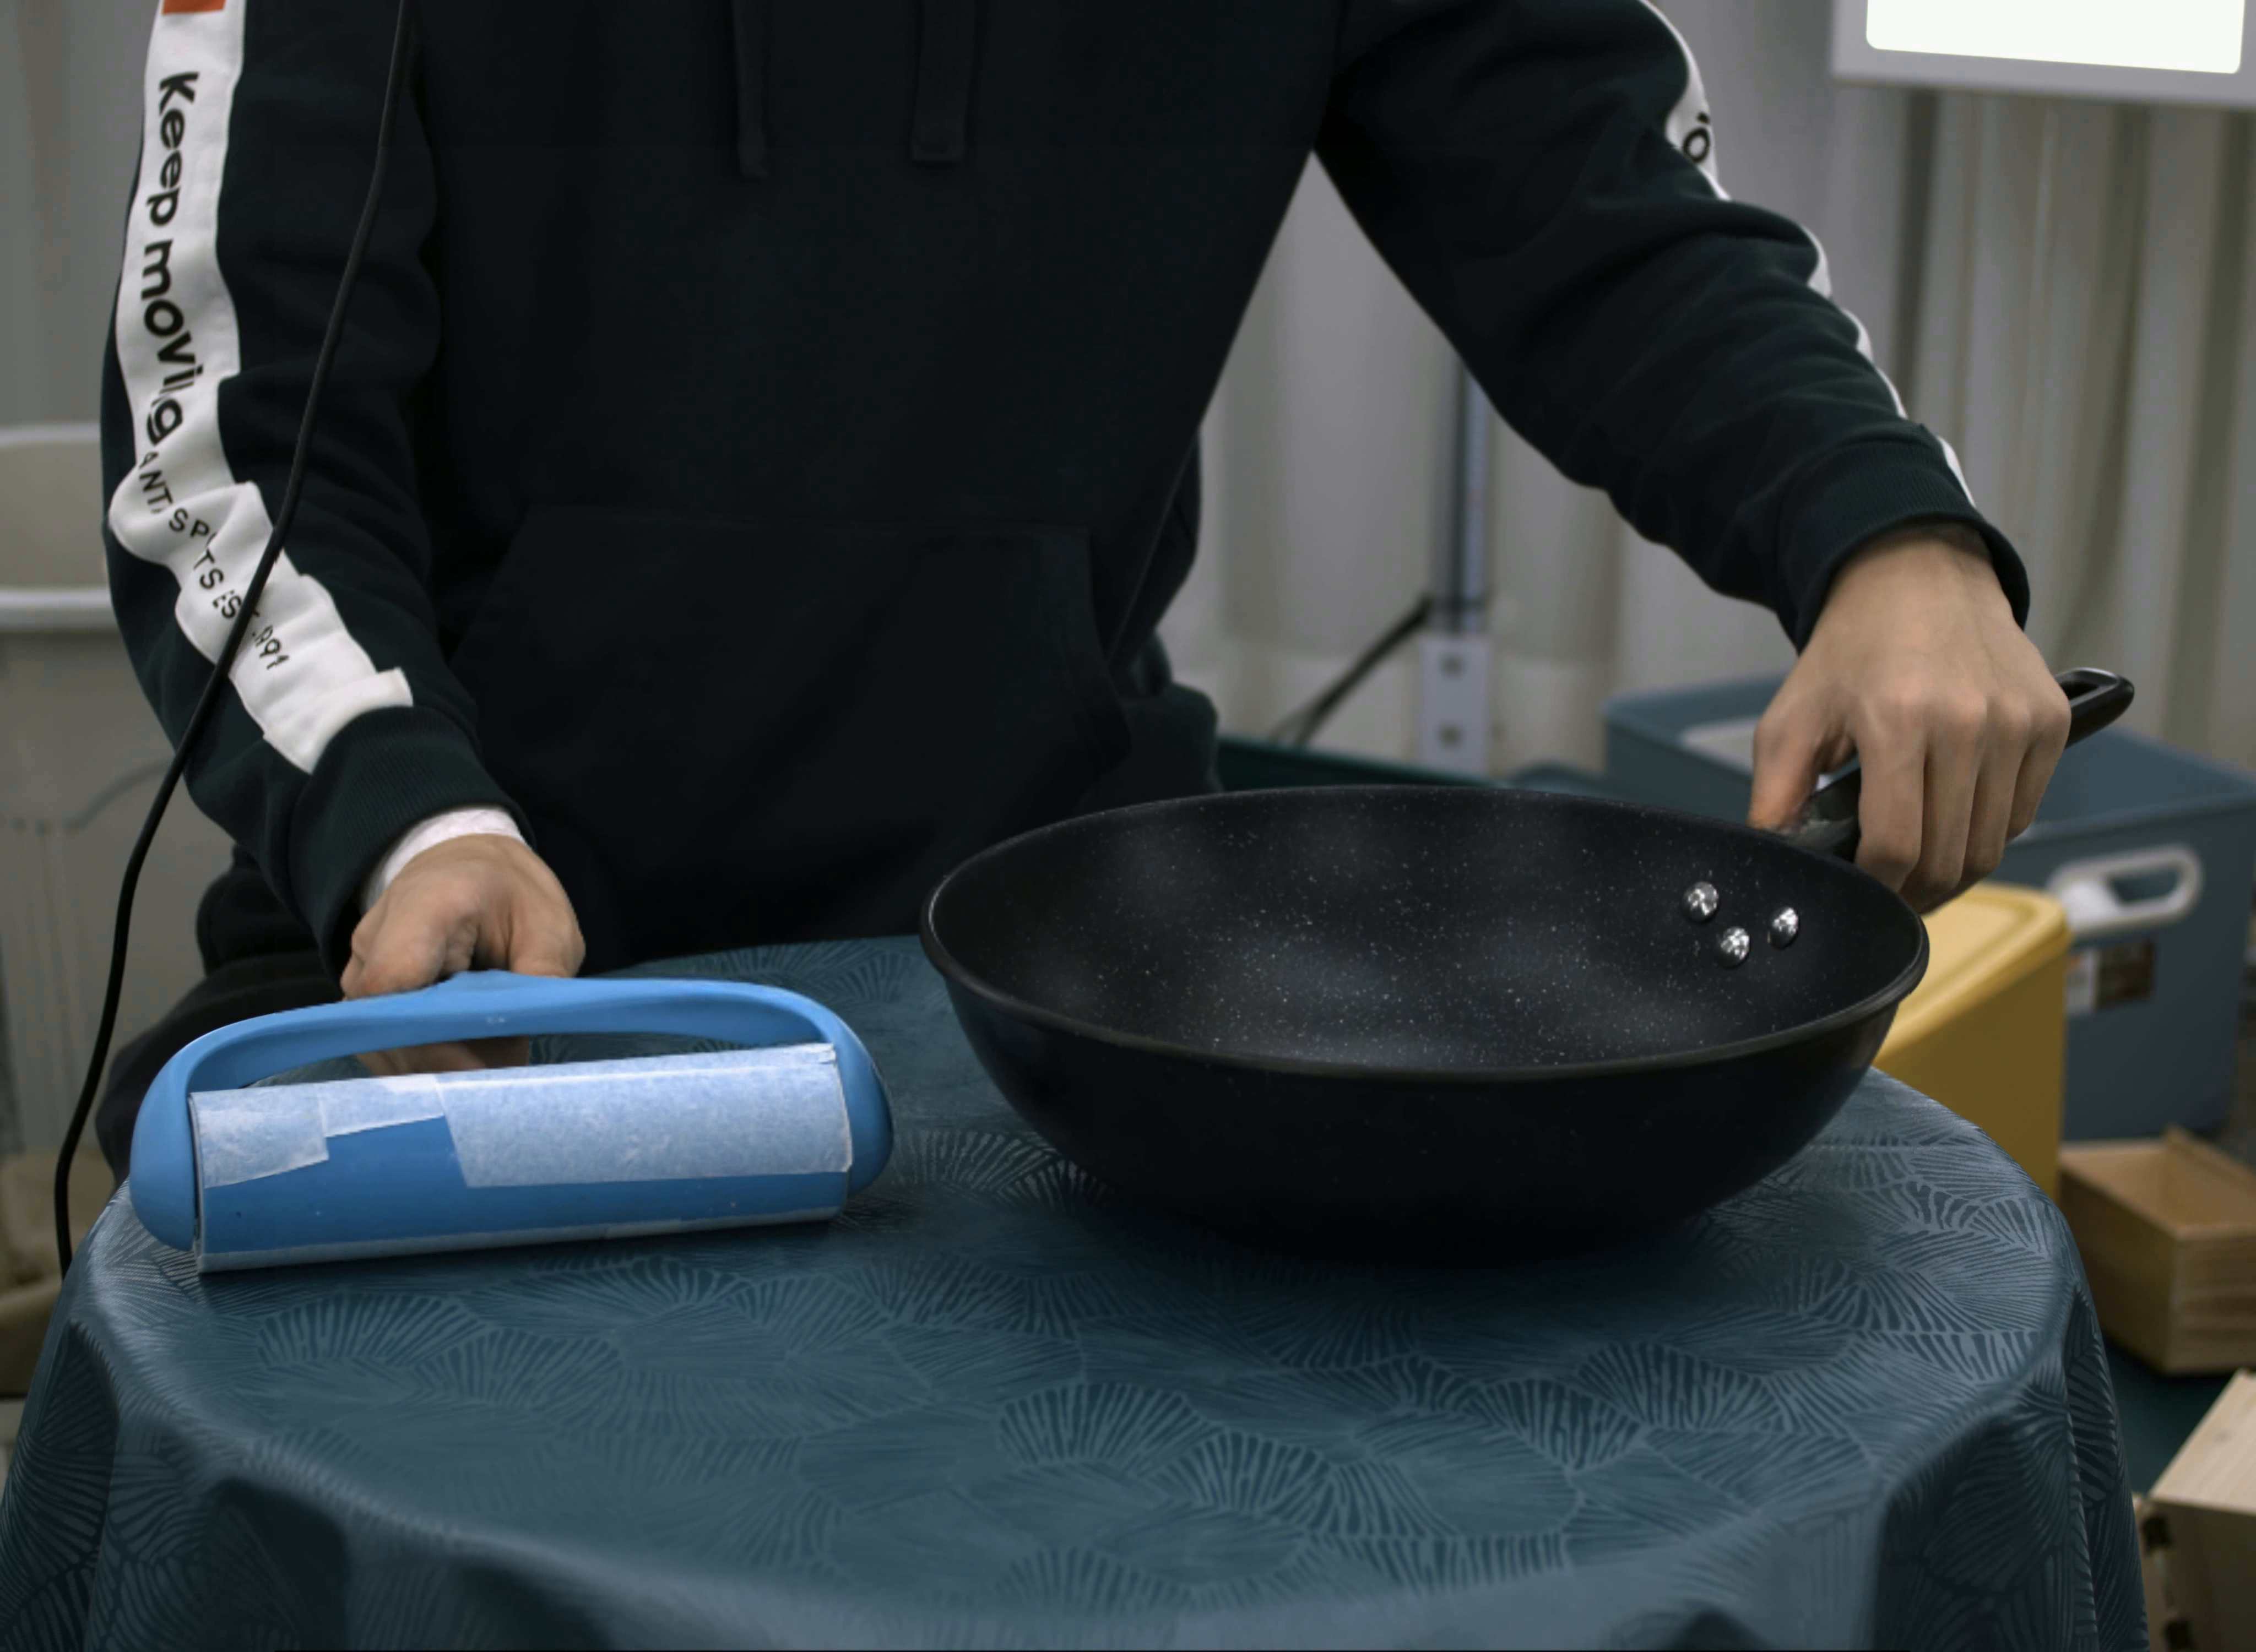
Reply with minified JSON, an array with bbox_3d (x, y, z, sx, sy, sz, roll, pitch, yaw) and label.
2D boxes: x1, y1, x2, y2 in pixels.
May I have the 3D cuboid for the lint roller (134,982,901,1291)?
[{"bbox_3d":[-0.198,0.079,1.614,0.229,0.068,0.178,-7,22,-17],"label":"lint roller"}]

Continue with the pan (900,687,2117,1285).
[{"bbox_3d":[0.148,0.046,1.665,0.479,0.112,0.306,-13,22,-39],"label":"pan"}]
